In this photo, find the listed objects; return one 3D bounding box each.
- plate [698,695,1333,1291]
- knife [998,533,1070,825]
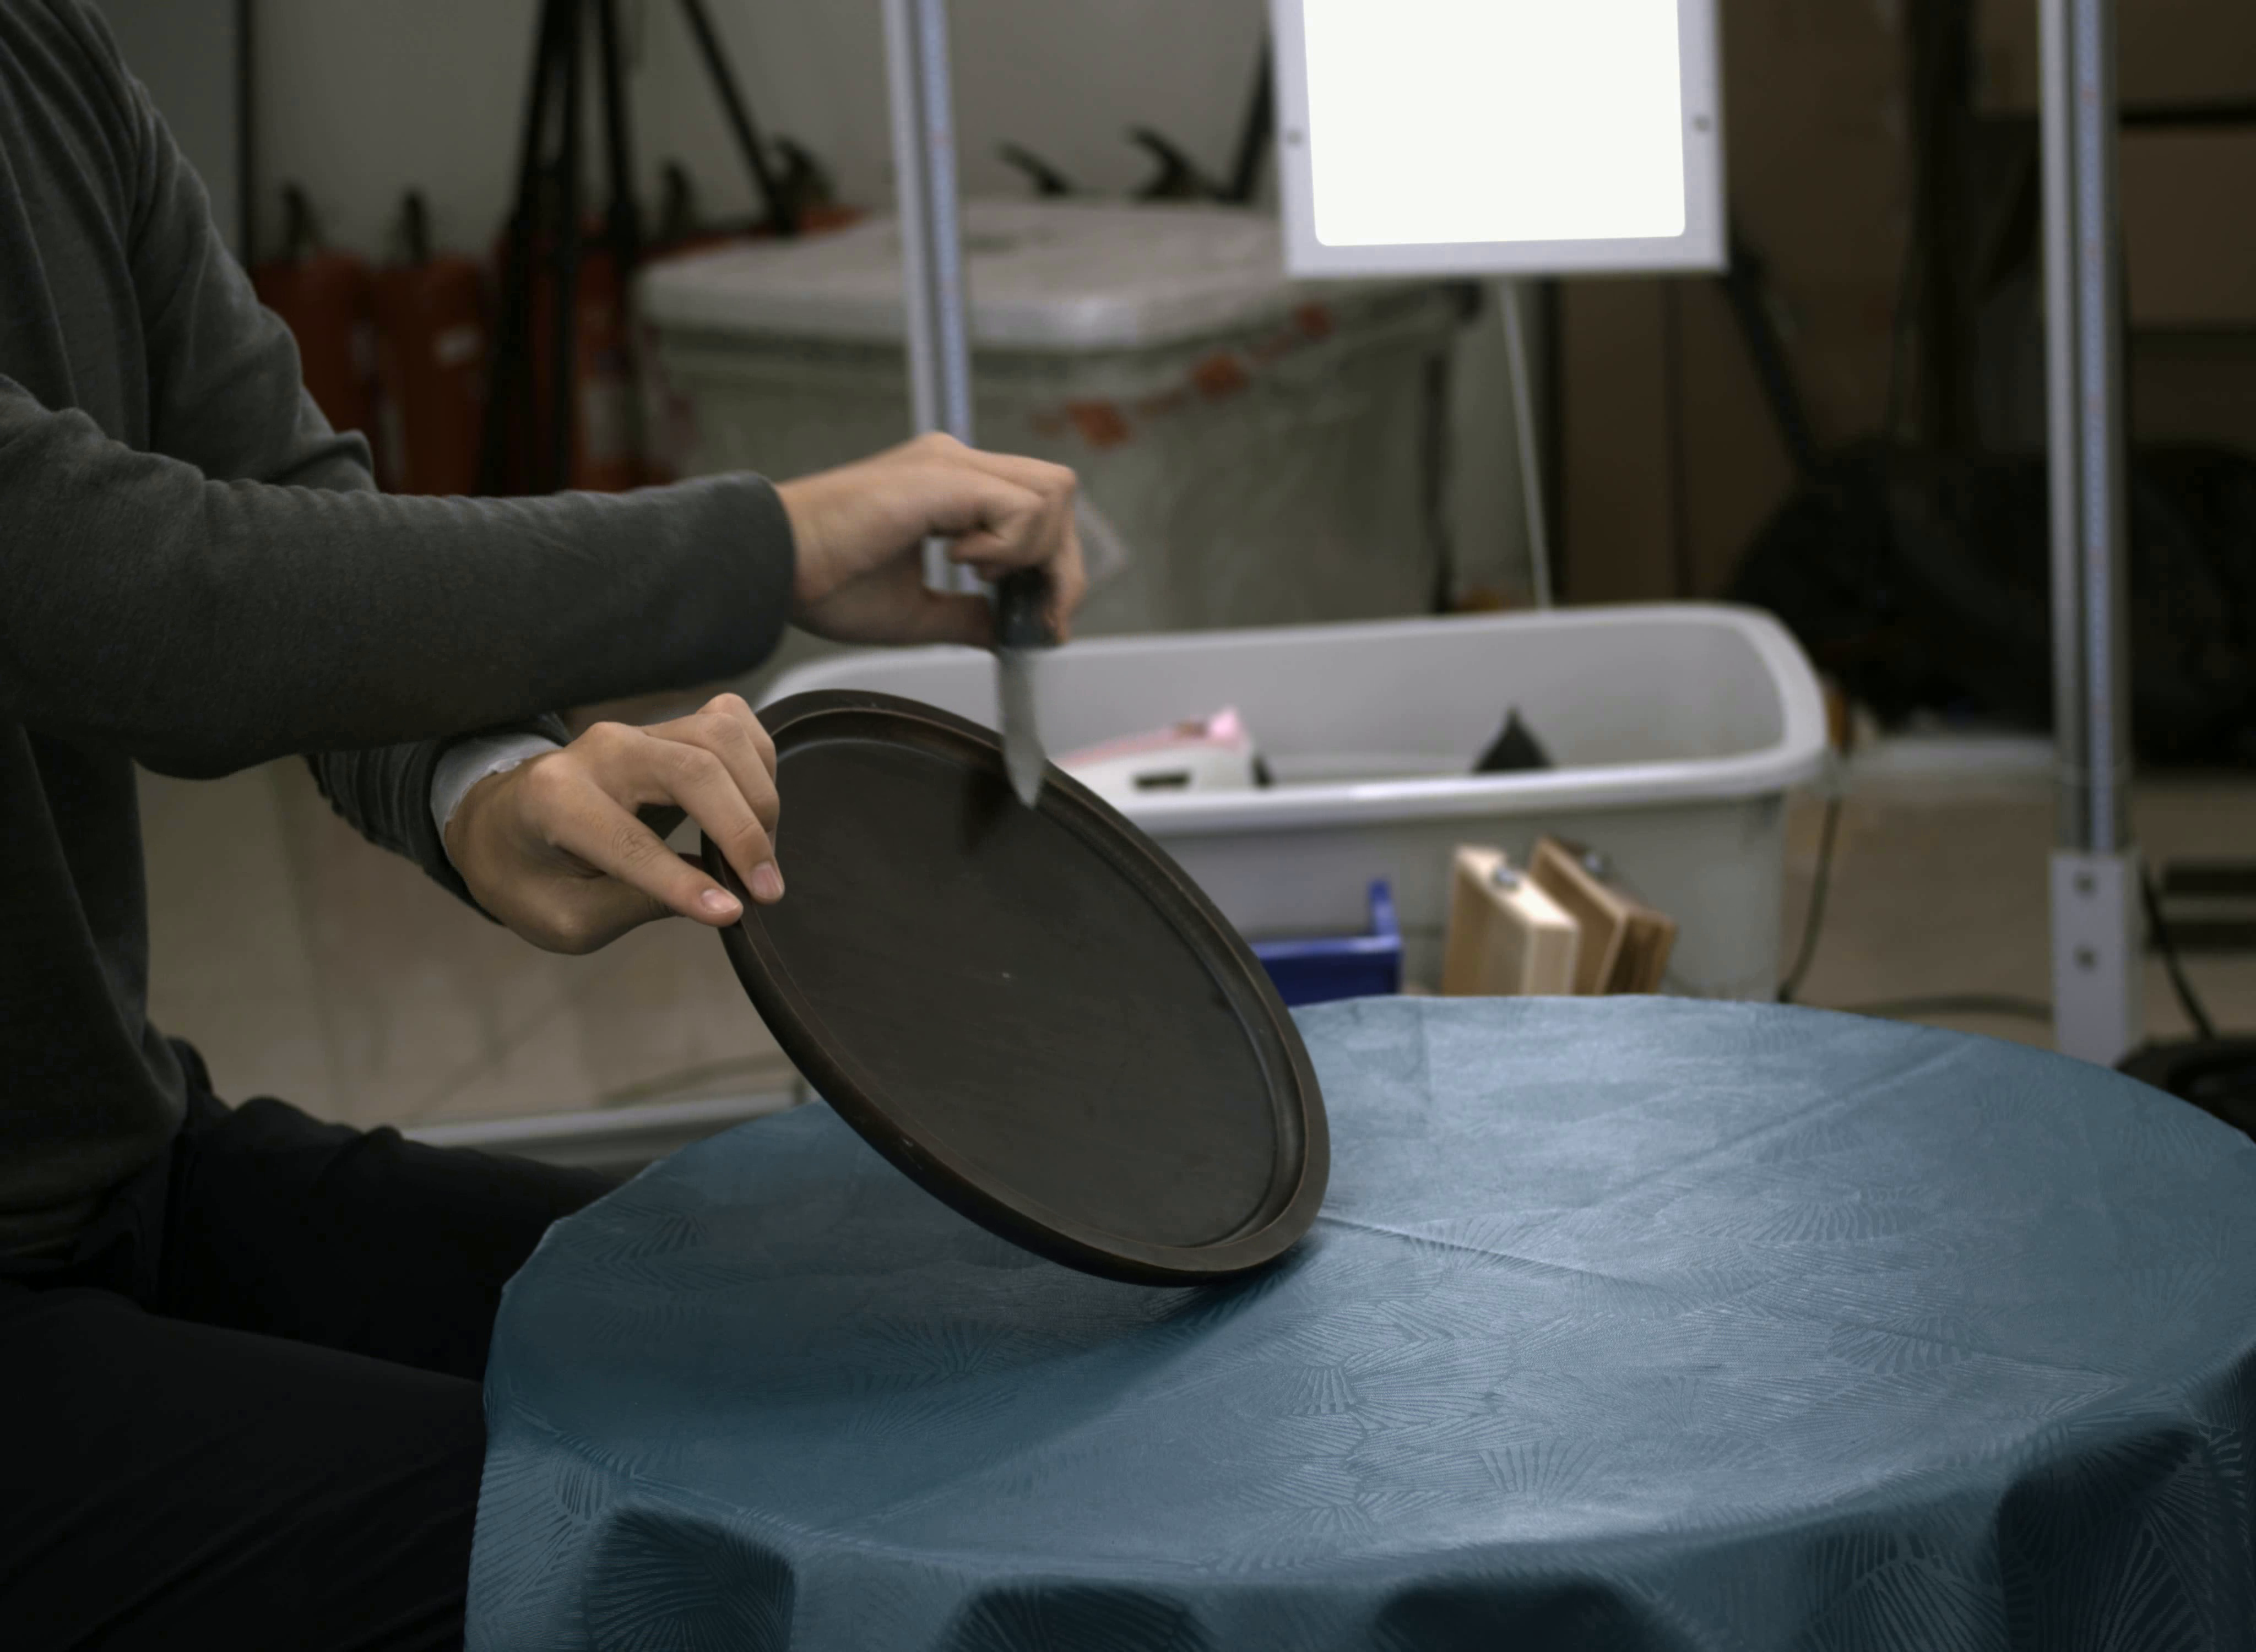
[{"bbox_3d":[-0.038,0.055,1.834,0.251,0.029,0.254,29,30,-21],"label":"plate"},{"bbox_3d":[-0.035,-0.055,1.985,0.024,0.016,0.238,27,22,-16],"label":"knife"}]
